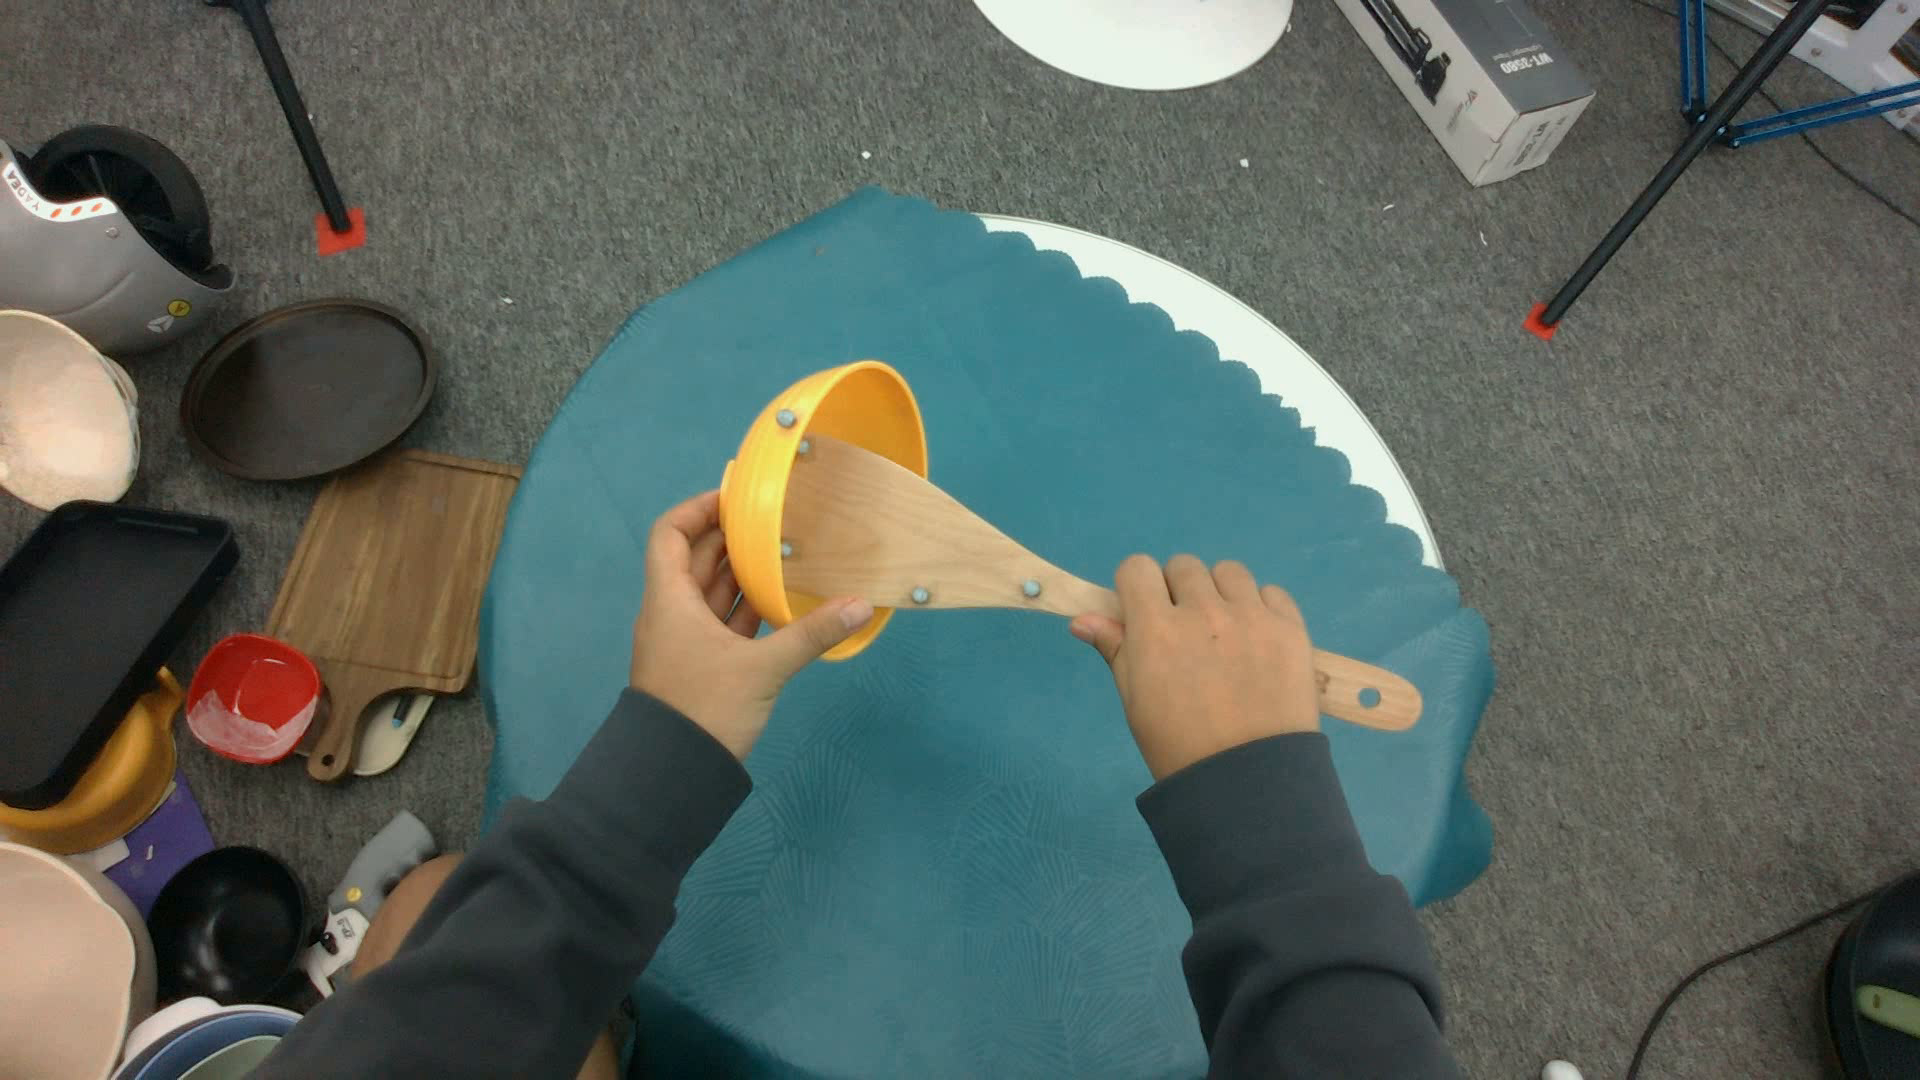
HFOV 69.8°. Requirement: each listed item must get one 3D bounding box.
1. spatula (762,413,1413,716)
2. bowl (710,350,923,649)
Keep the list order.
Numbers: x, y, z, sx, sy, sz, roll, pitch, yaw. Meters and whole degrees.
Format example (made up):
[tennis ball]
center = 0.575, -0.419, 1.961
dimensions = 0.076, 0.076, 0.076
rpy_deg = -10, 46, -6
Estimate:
[spatula]
center = 0.050, 0.022, 0.649
dimensions = 0.327, 0.016, 0.080
rpy_deg = 18, 90, 10
[bowl]
center = -0.078, -0.023, 0.670
dimensions = 0.060, 0.145, 0.146
rpy_deg = 11, 58, 26
